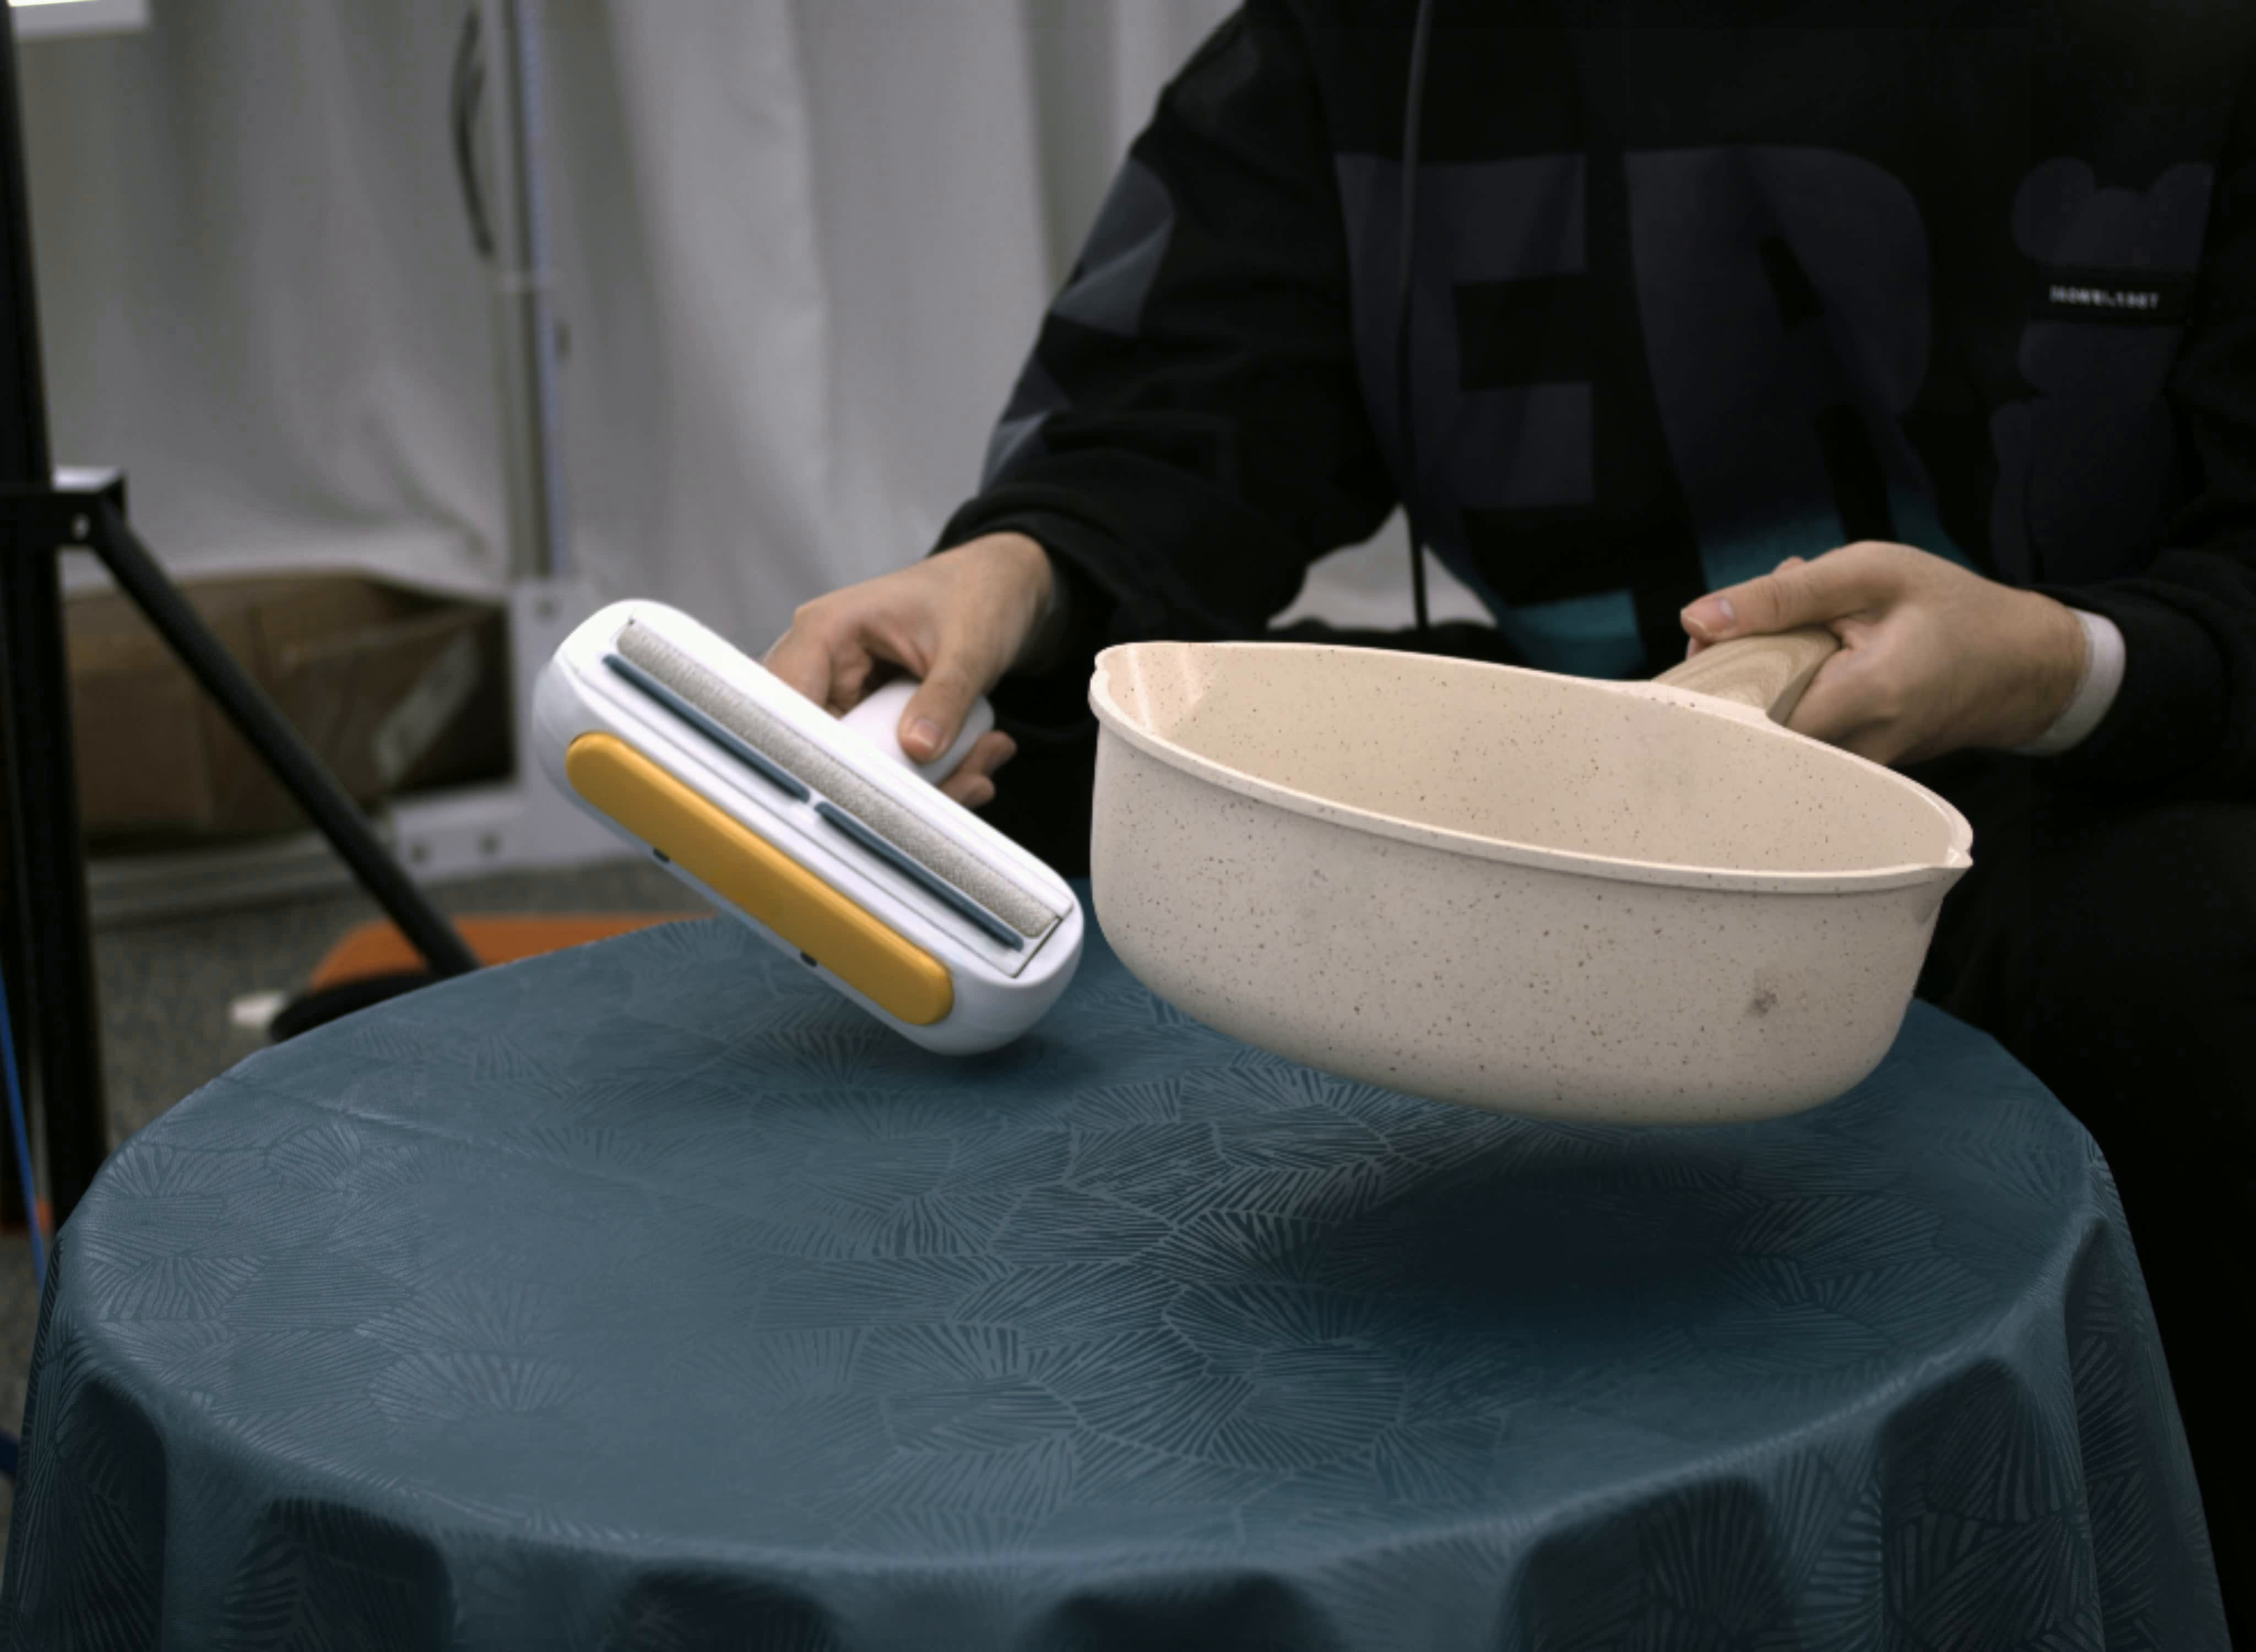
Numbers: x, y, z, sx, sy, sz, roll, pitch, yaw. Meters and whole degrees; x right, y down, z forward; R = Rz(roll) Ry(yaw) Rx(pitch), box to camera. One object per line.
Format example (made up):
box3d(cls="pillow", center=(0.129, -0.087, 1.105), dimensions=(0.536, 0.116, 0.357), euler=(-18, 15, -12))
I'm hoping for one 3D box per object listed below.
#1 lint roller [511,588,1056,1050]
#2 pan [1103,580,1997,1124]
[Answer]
box3d(cls="lint roller", center=(-0.087, -0.019, 1.742), dimensions=(0.194, 0.074, 0.190), euler=(32, 35, 12))
box3d(cls="pan", center=(0.151, -0.001, 1.569), dimensions=(0.267, 0.102, 0.427), euler=(13, 13, 24))
